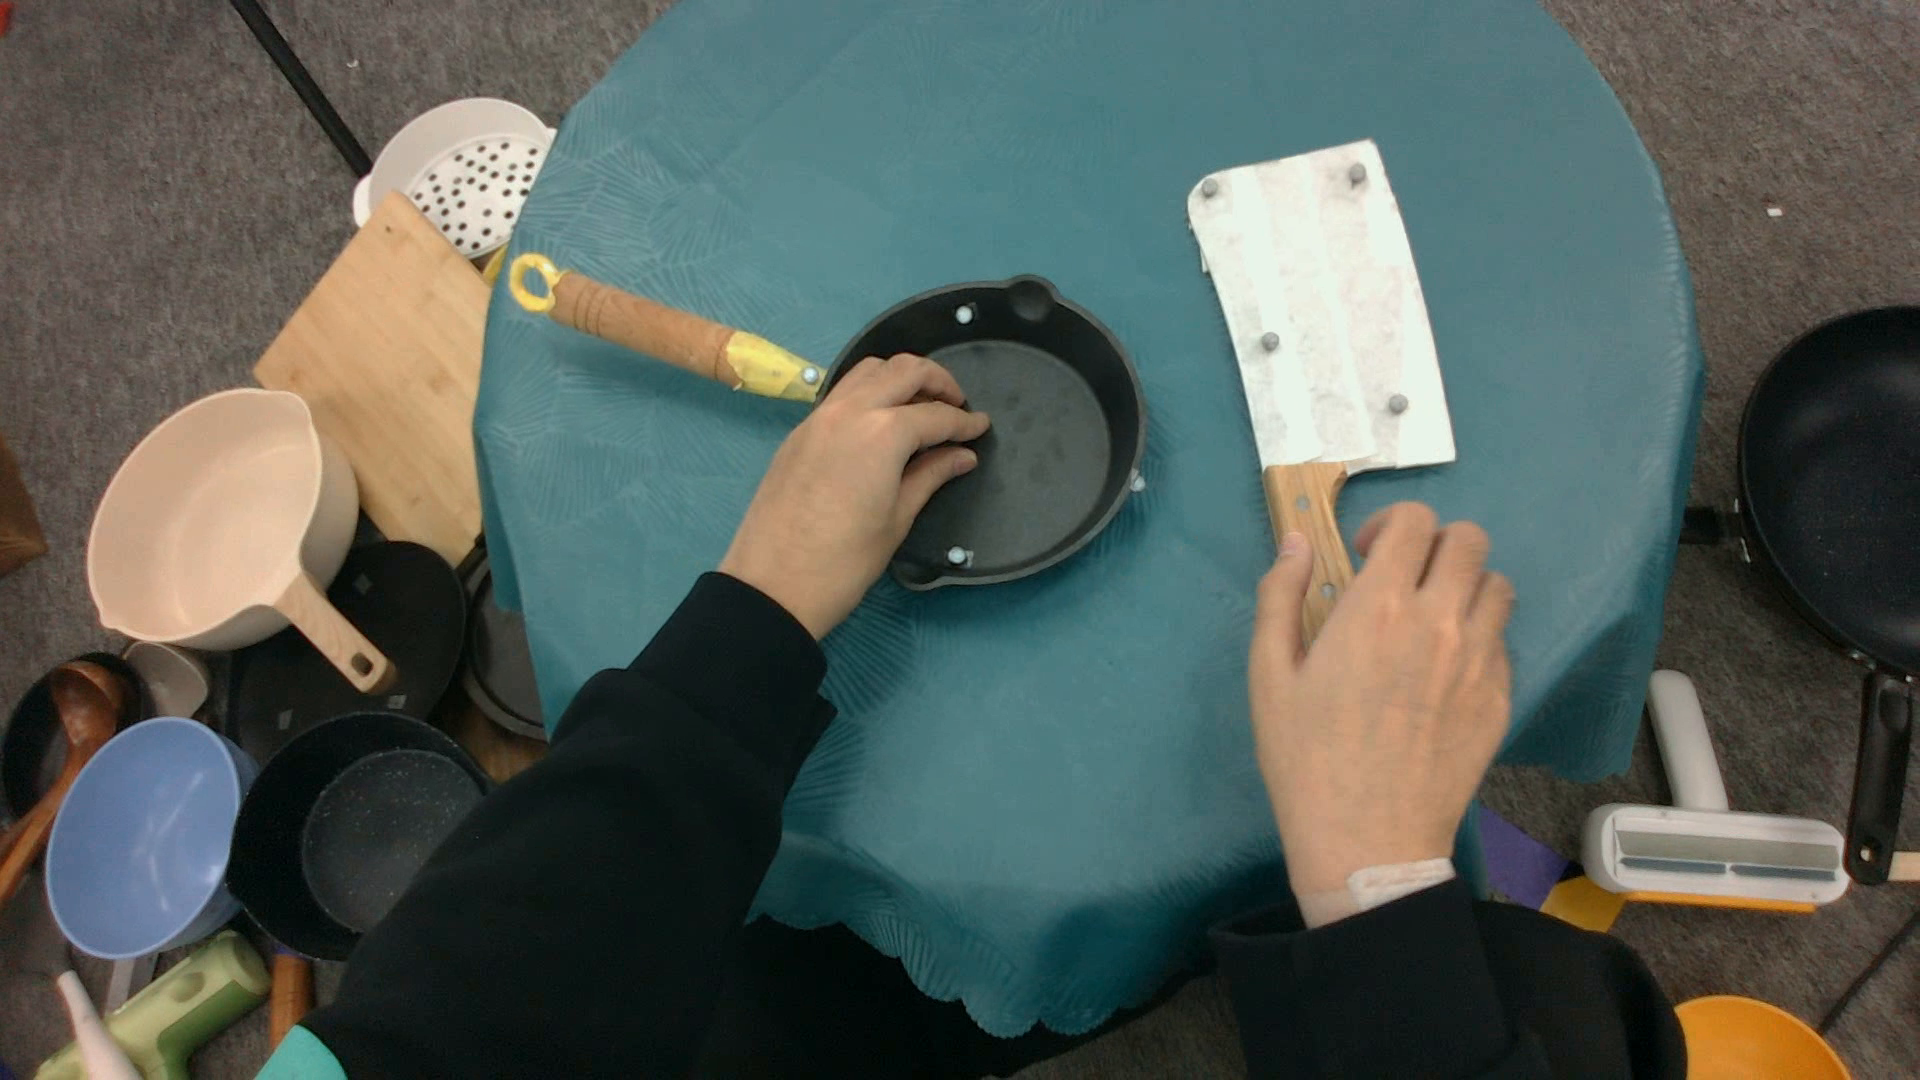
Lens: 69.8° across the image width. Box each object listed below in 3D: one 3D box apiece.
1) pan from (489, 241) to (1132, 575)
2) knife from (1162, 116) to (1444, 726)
[{"bbox_3d":[-0.077,-0.085,0.657,0.324,0.049,0.169,18,73,12],"label":"pan"},{"bbox_3d":[0.163,-0.068,0.639,0.114,0.021,0.316,-5,66,5],"label":"knife"}]
